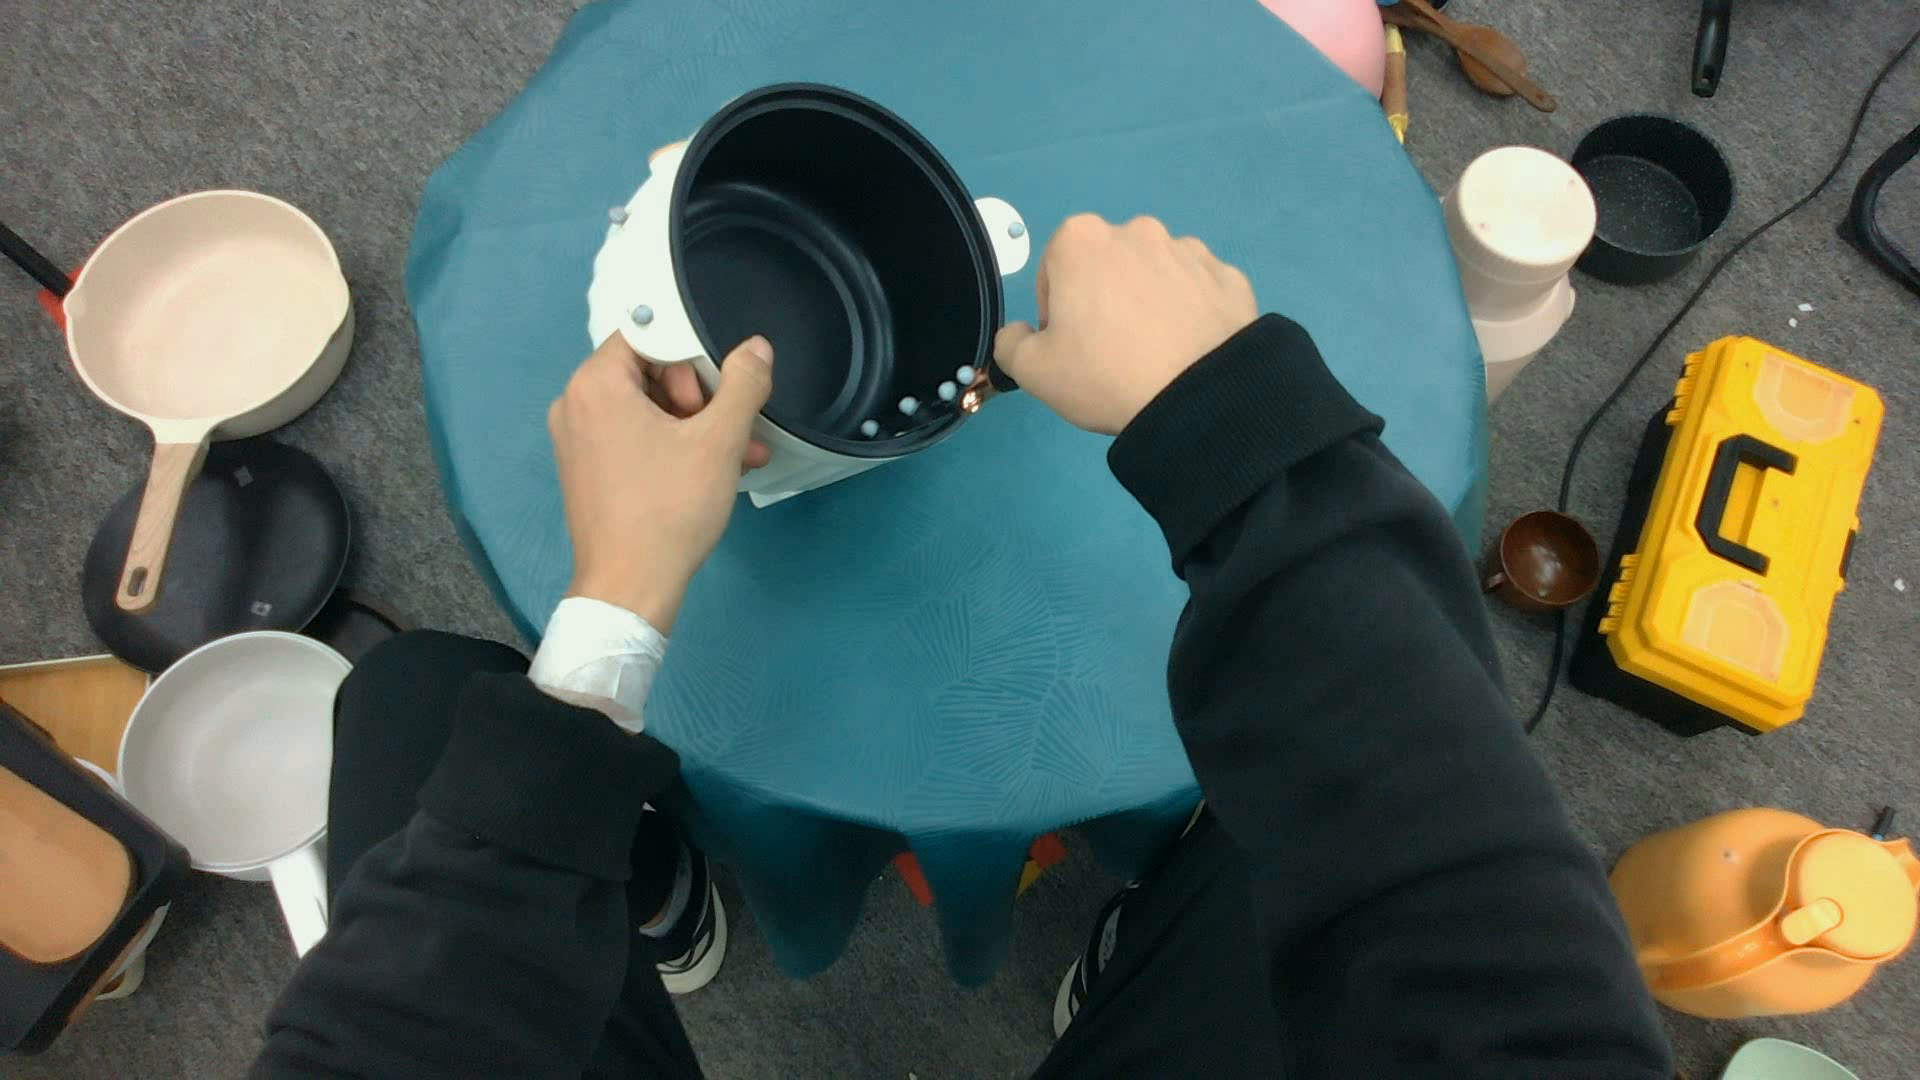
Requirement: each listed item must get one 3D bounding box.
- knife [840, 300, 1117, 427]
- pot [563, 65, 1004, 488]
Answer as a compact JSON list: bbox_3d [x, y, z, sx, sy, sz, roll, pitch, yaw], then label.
[{"bbox_3d":[-0.011,-0.071,0.627,0.017,0.224,0.026,39,60,-26],"label":"knife"},{"bbox_3d":[-0.104,-0.129,0.690,0.241,0.142,0.190,-26,99,-40],"label":"pot"}]
